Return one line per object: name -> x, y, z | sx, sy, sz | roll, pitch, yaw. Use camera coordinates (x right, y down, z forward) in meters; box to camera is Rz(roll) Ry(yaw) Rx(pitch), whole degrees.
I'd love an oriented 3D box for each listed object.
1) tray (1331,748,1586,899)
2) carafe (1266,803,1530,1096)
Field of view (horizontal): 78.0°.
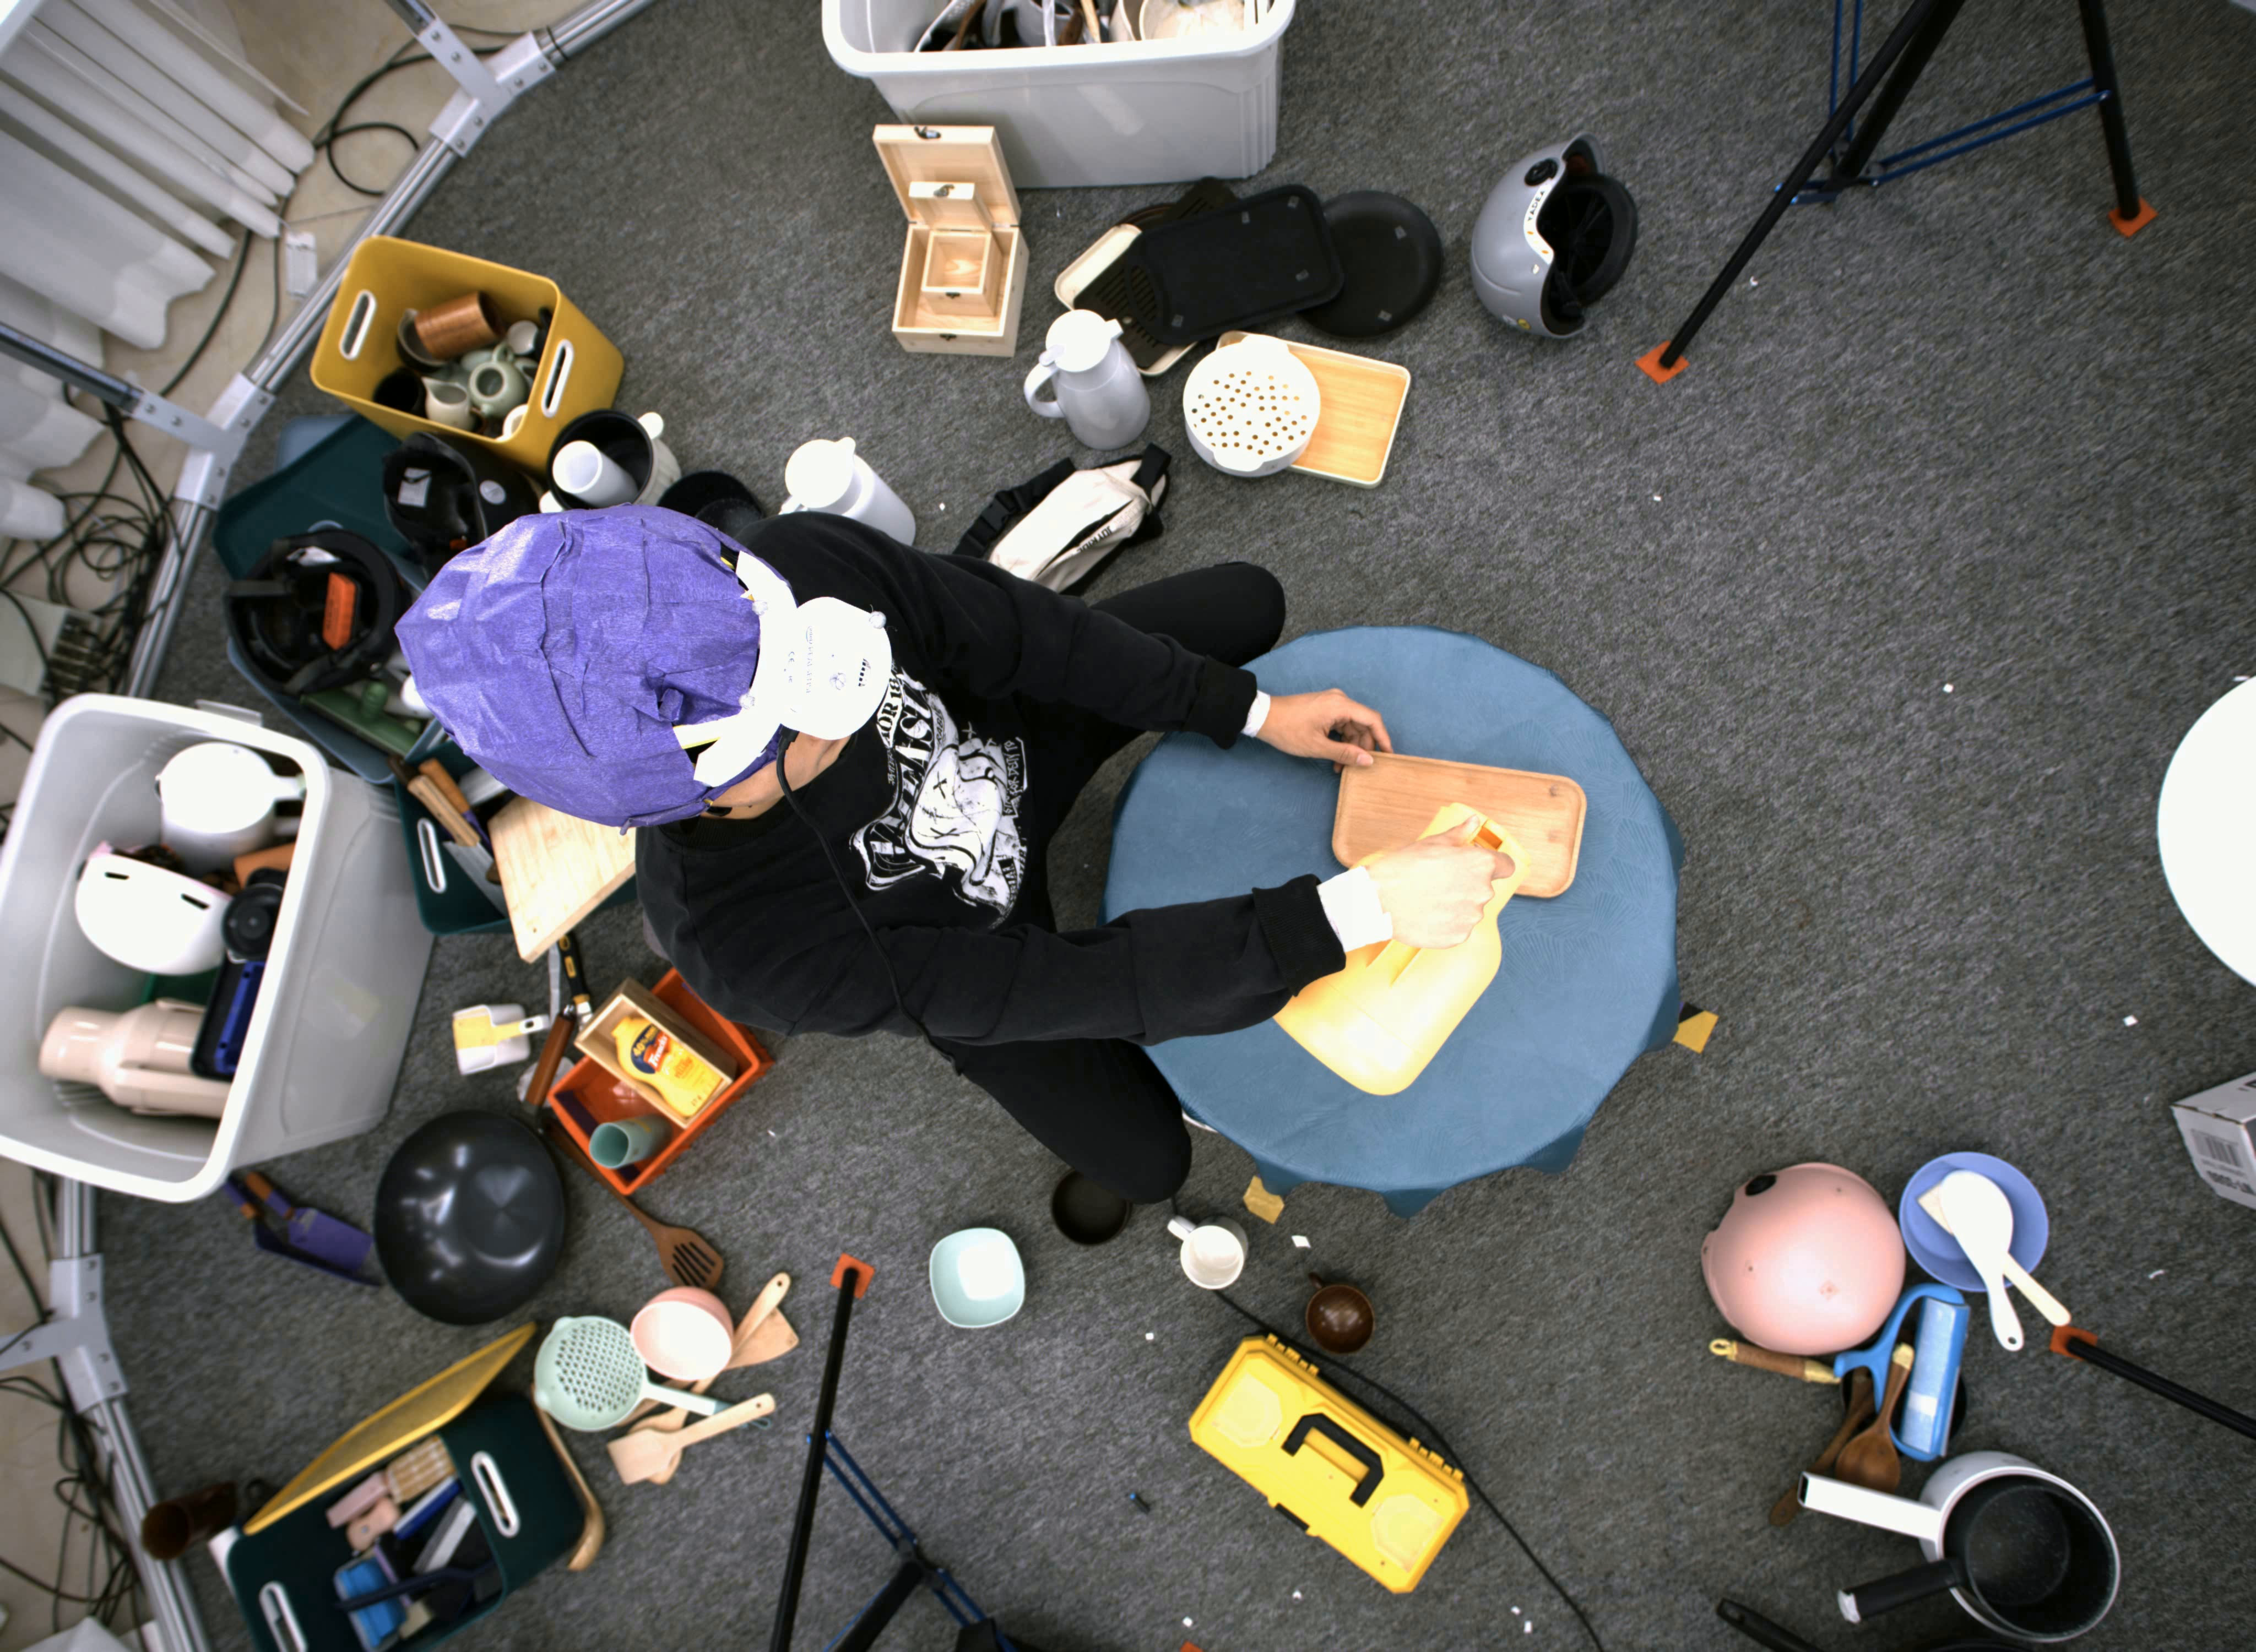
tray -> 0.341, -0.005, 1.428 | 0.251, 0.022, 0.131 | 9, 100, 10
carafe -> 0.247, 0.100, 1.225 | 0.163, 0.202, 0.261 | 36, 93, 13
